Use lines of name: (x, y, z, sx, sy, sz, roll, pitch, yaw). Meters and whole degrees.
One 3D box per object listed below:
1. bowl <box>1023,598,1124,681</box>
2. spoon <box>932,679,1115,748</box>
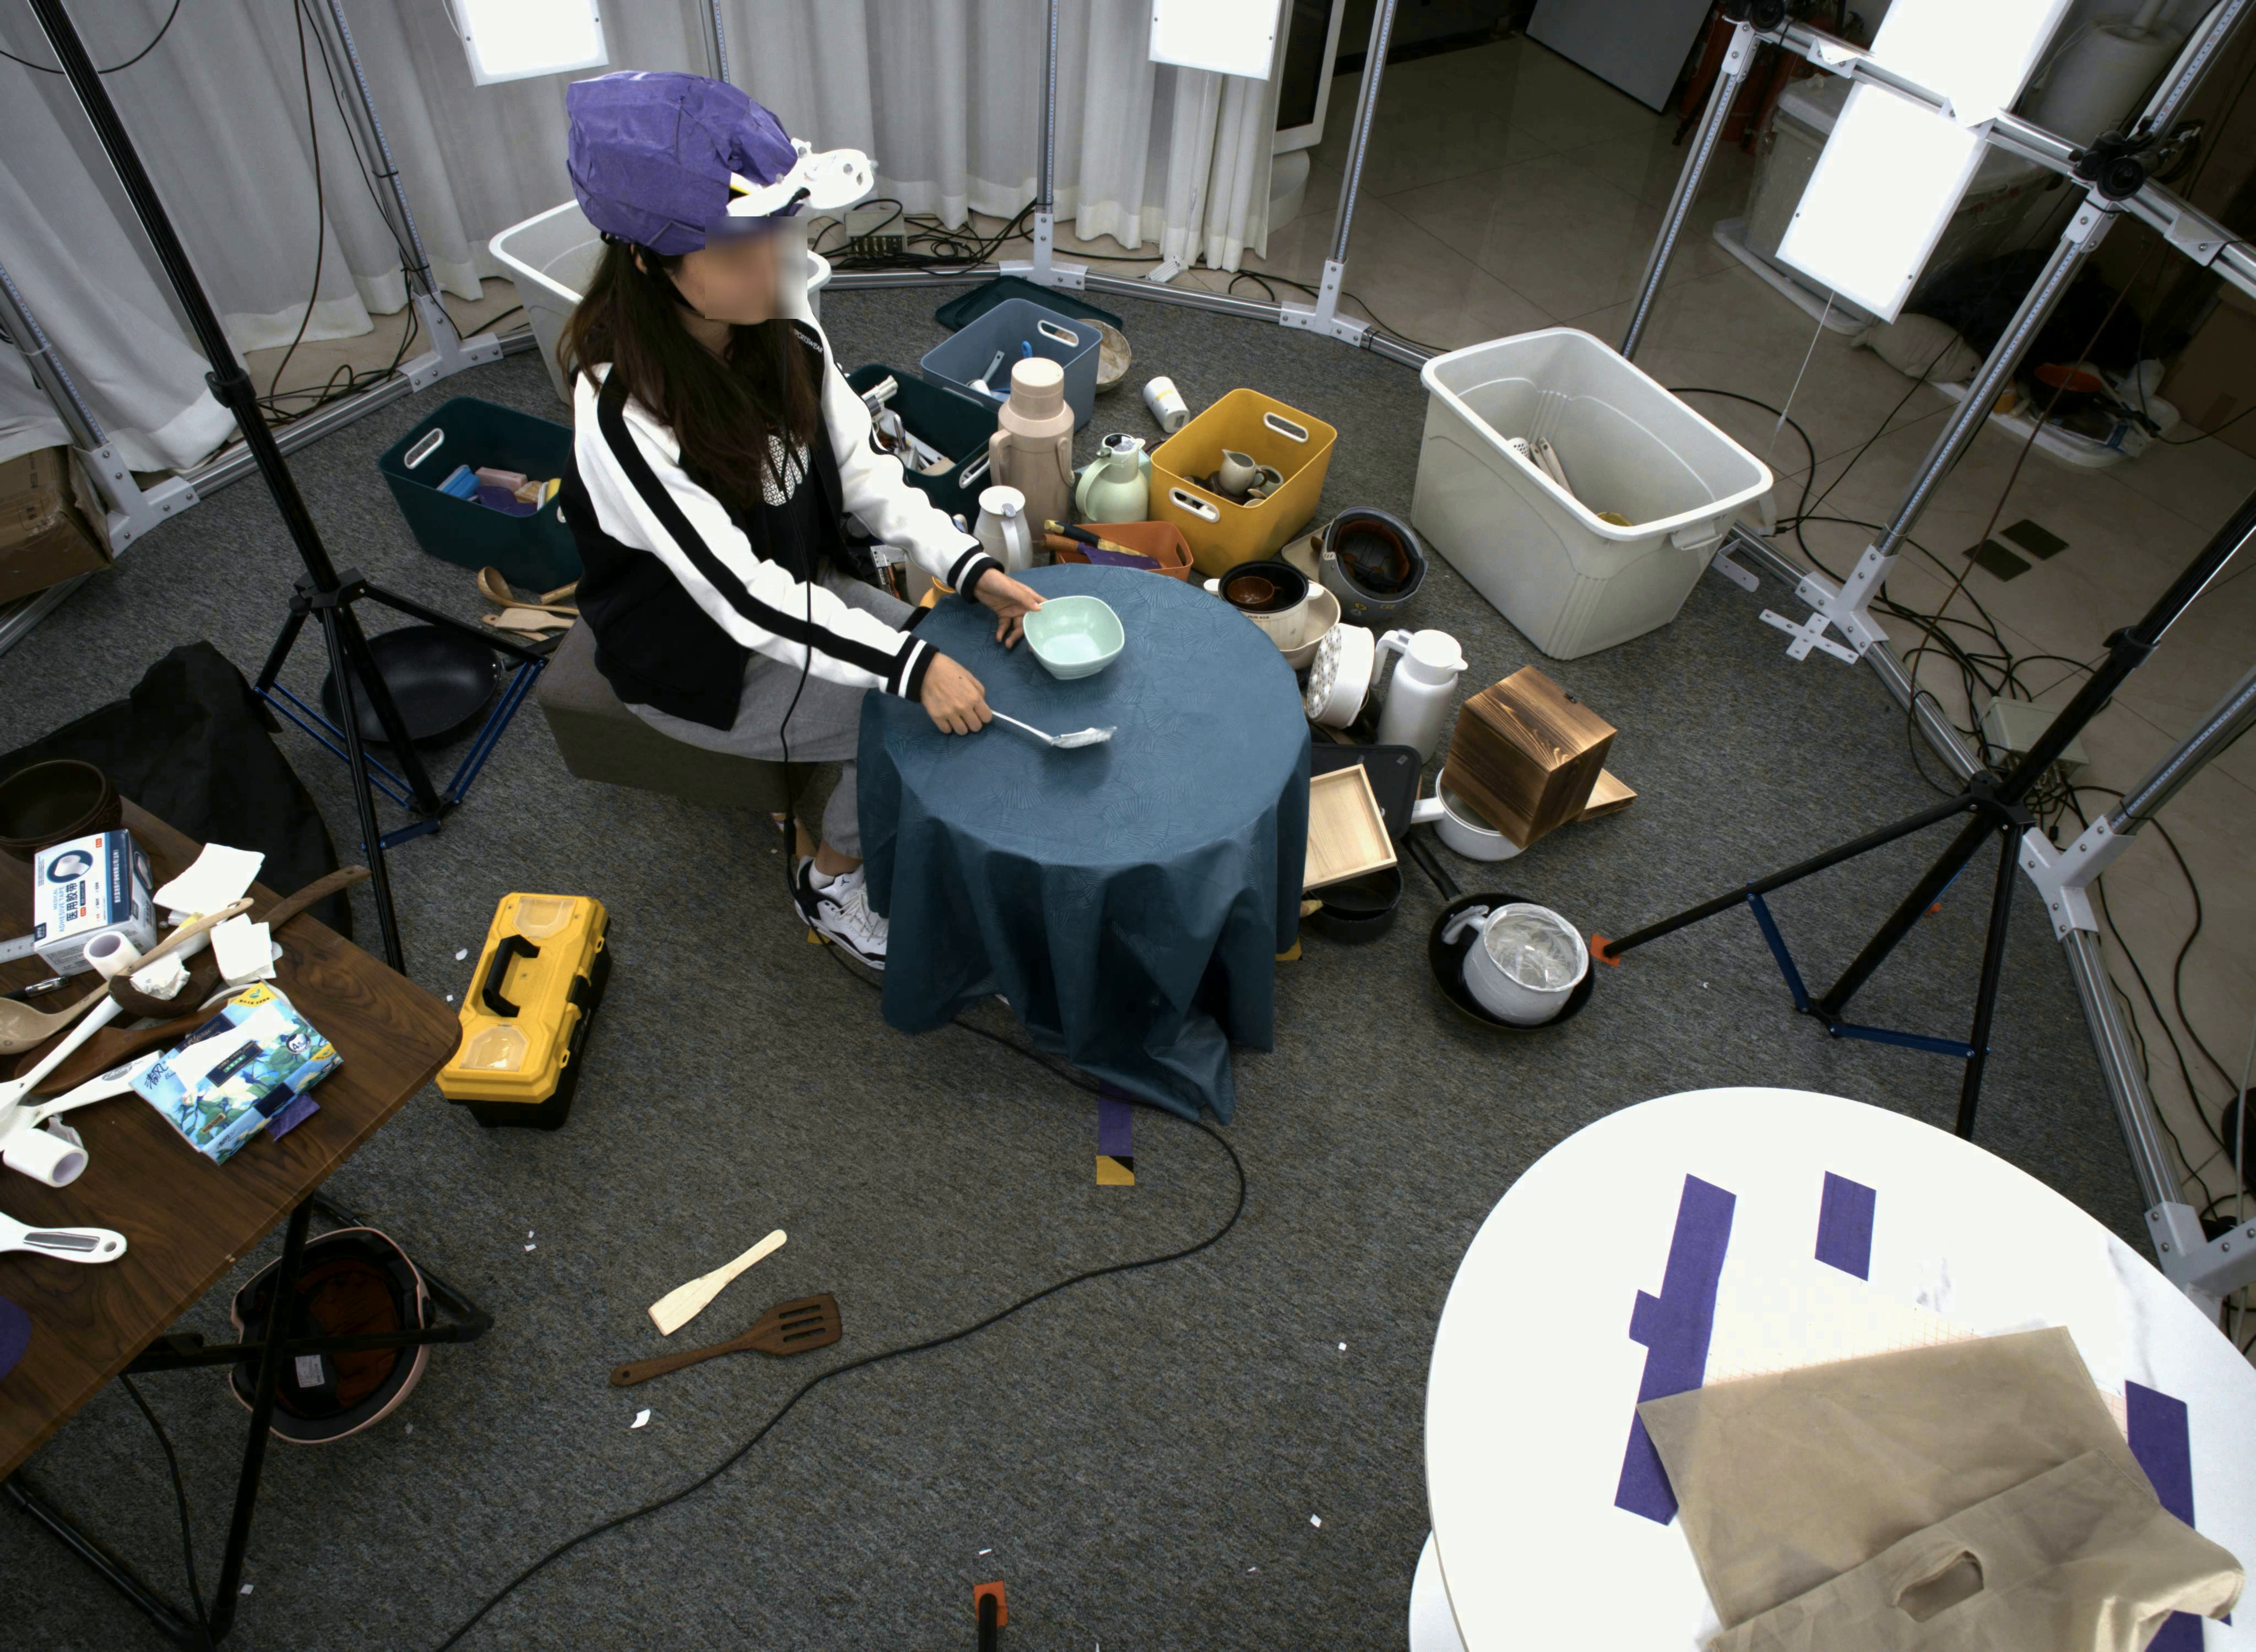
bowl: (-0.080, -0.262, 1.858, 0.151, 0.057, 0.155, 2, 49, -3)
spoon: (-0.146, -0.168, 1.767, 0.280, 0.059, 0.100, 28, 11, 20)
